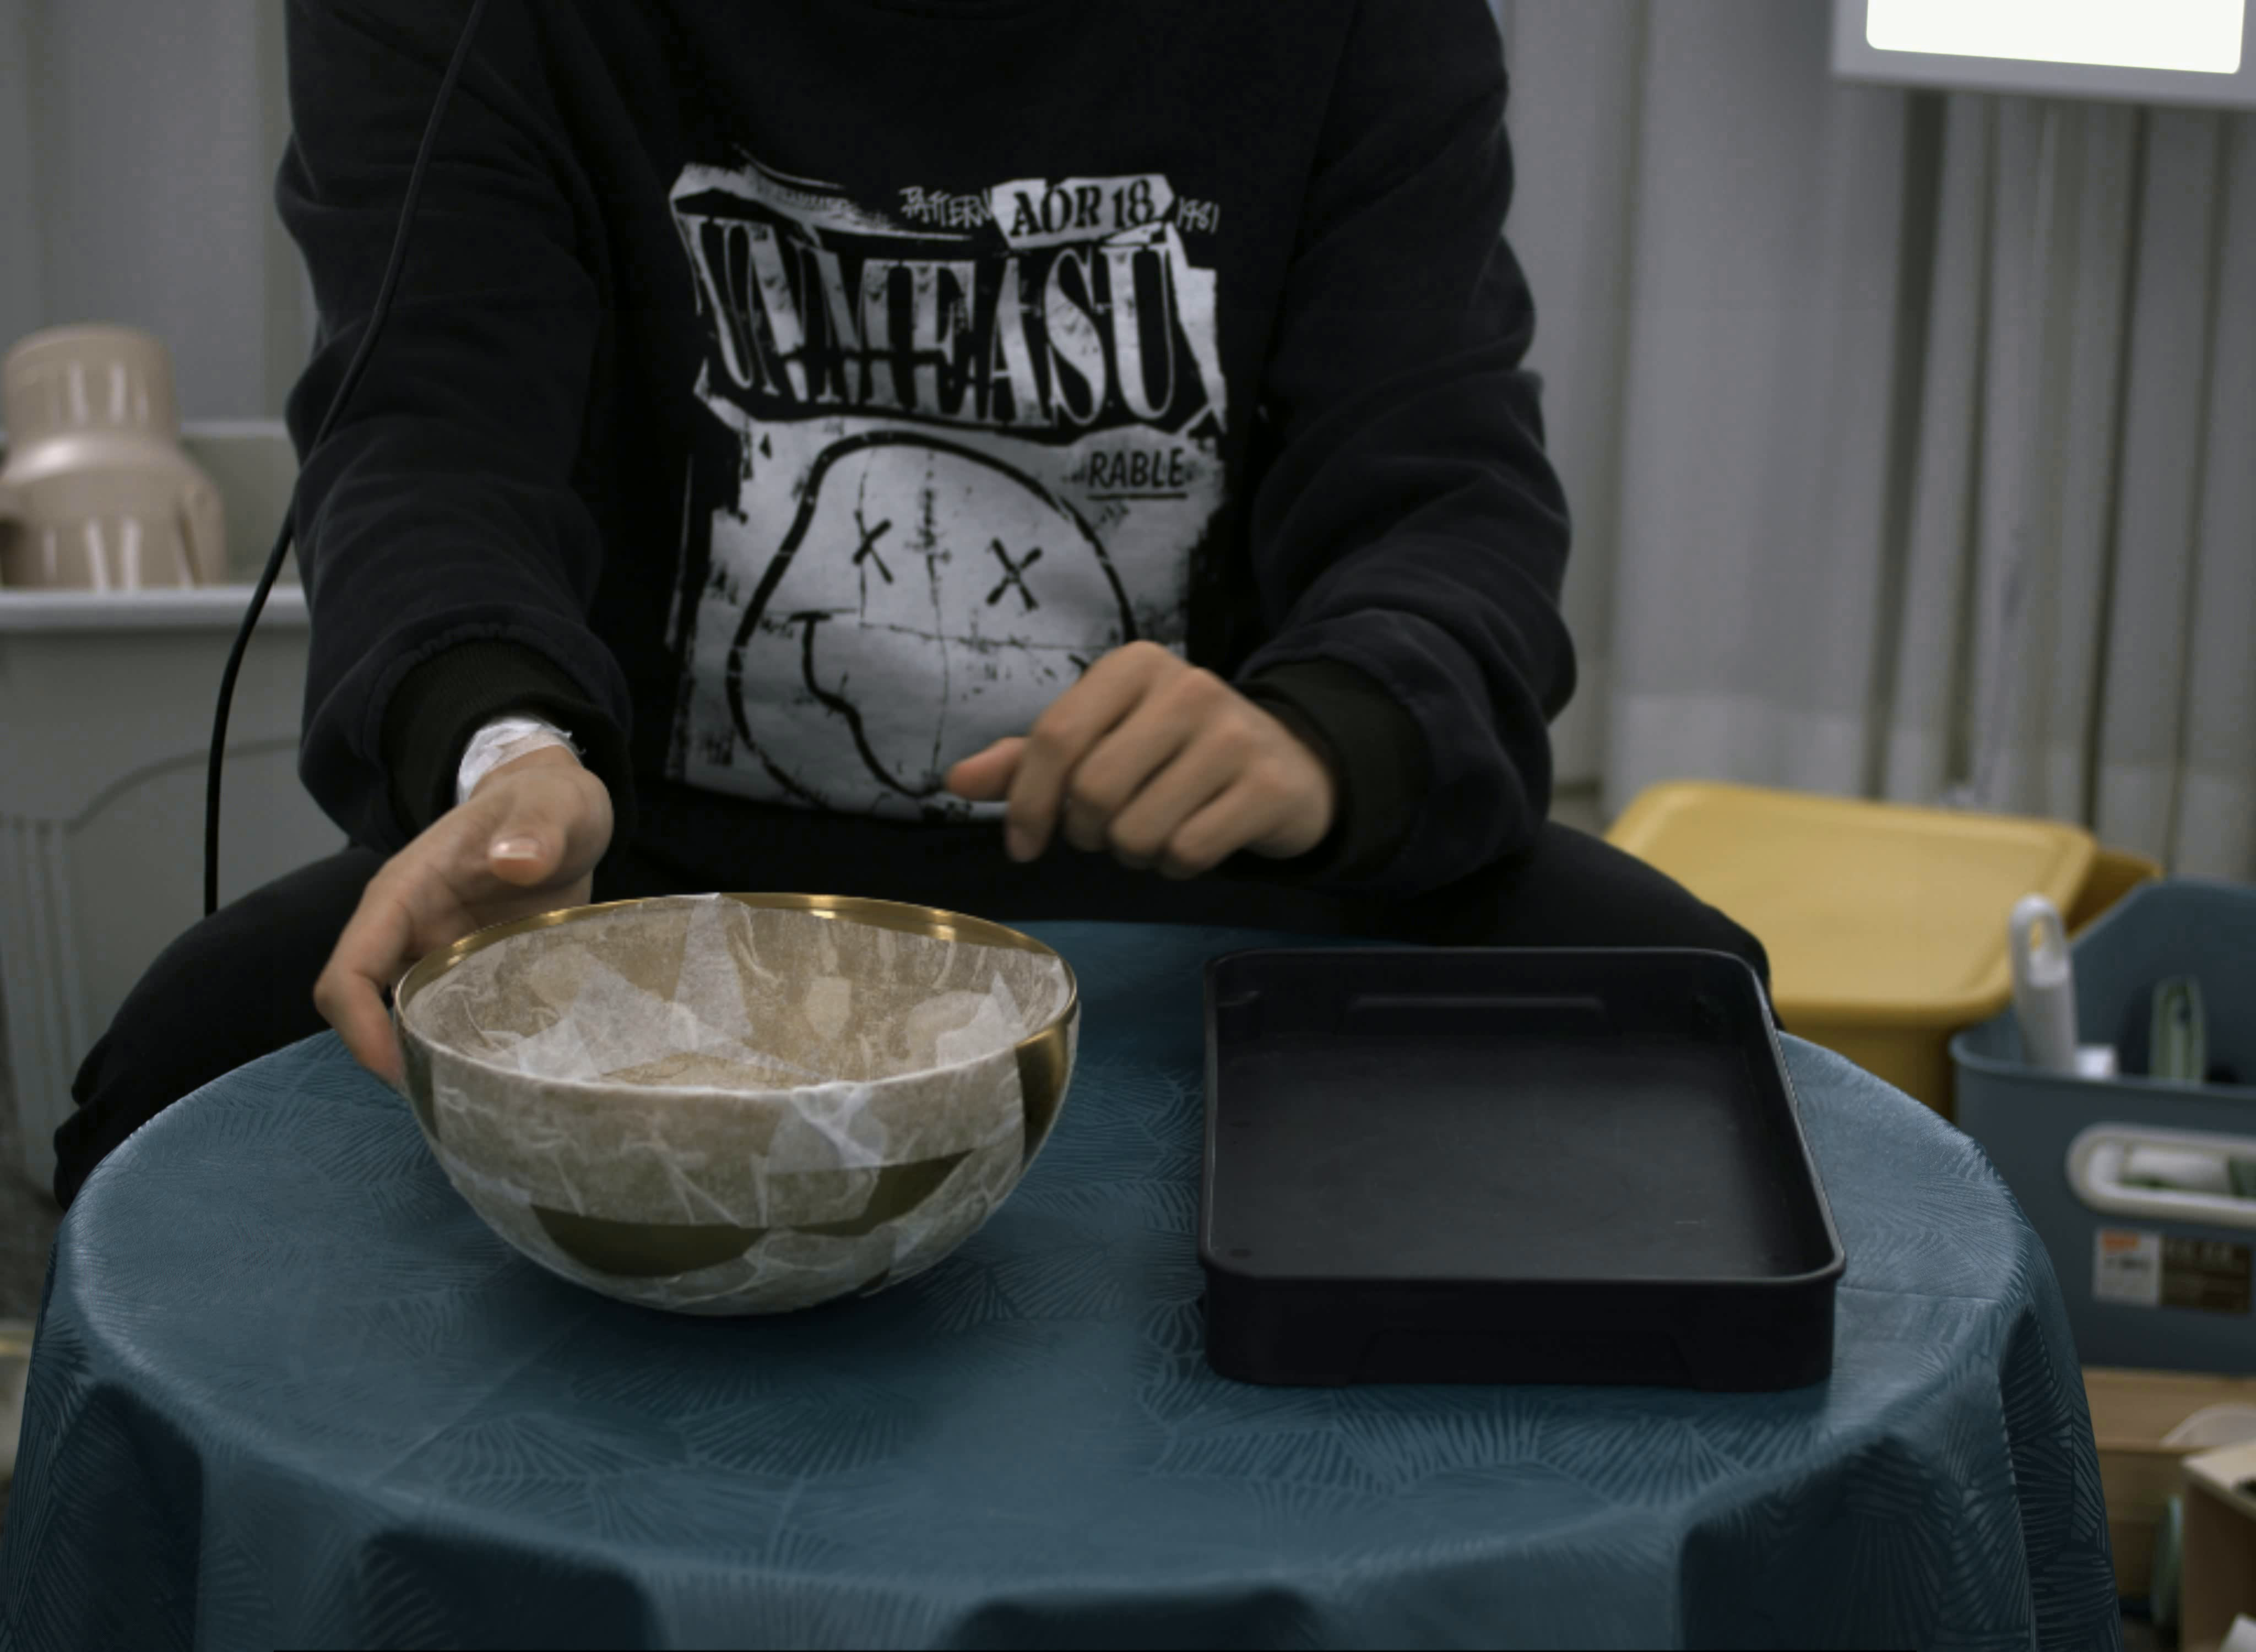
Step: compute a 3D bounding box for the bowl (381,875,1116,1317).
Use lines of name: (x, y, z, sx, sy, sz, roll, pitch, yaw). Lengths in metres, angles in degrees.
bowl: (-0.110, 0.087, 1.540, 0.214, 0.095, 0.213, 0, 16, 1)

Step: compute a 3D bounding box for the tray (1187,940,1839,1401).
tray: (0.113, 0.099, 1.613, 0.183, 0.037, 0.316, 2, 16, 2)
